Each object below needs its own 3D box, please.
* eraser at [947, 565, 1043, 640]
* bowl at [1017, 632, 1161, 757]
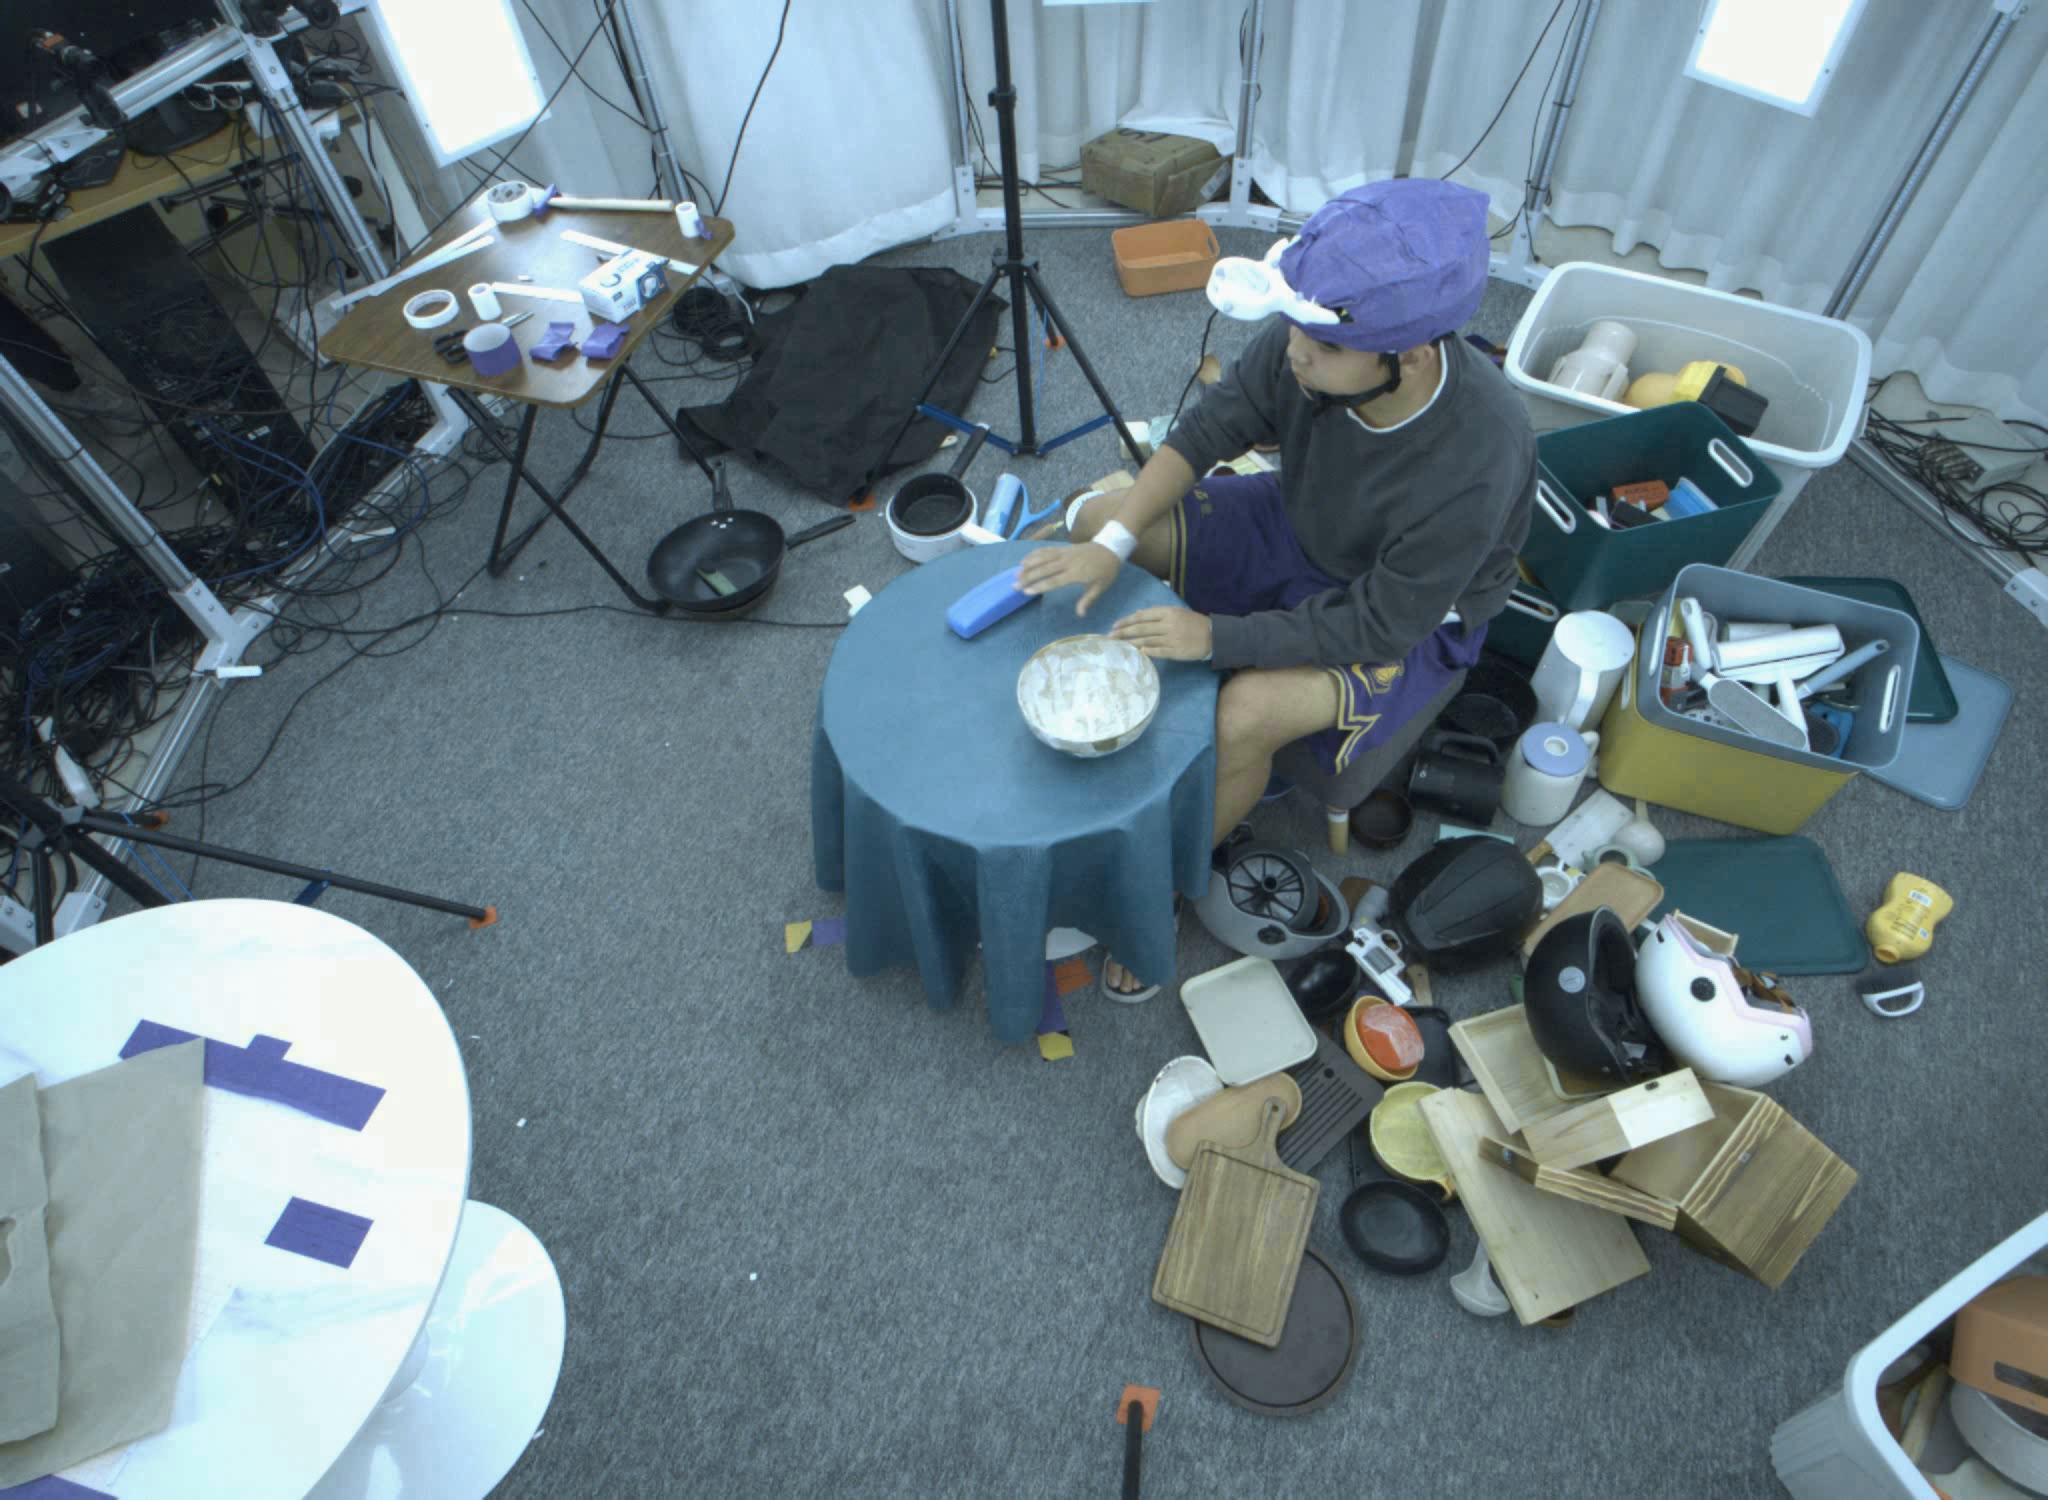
[{"bbox_3d":[-0.047,-0.238,1.934,0.163,0.048,0.053,-34,56,-21],"label":"eraser"},{"bbox_3d":[0.097,-0.065,1.775,0.214,0.095,0.212,-1,53,2],"label":"bowl"}]
